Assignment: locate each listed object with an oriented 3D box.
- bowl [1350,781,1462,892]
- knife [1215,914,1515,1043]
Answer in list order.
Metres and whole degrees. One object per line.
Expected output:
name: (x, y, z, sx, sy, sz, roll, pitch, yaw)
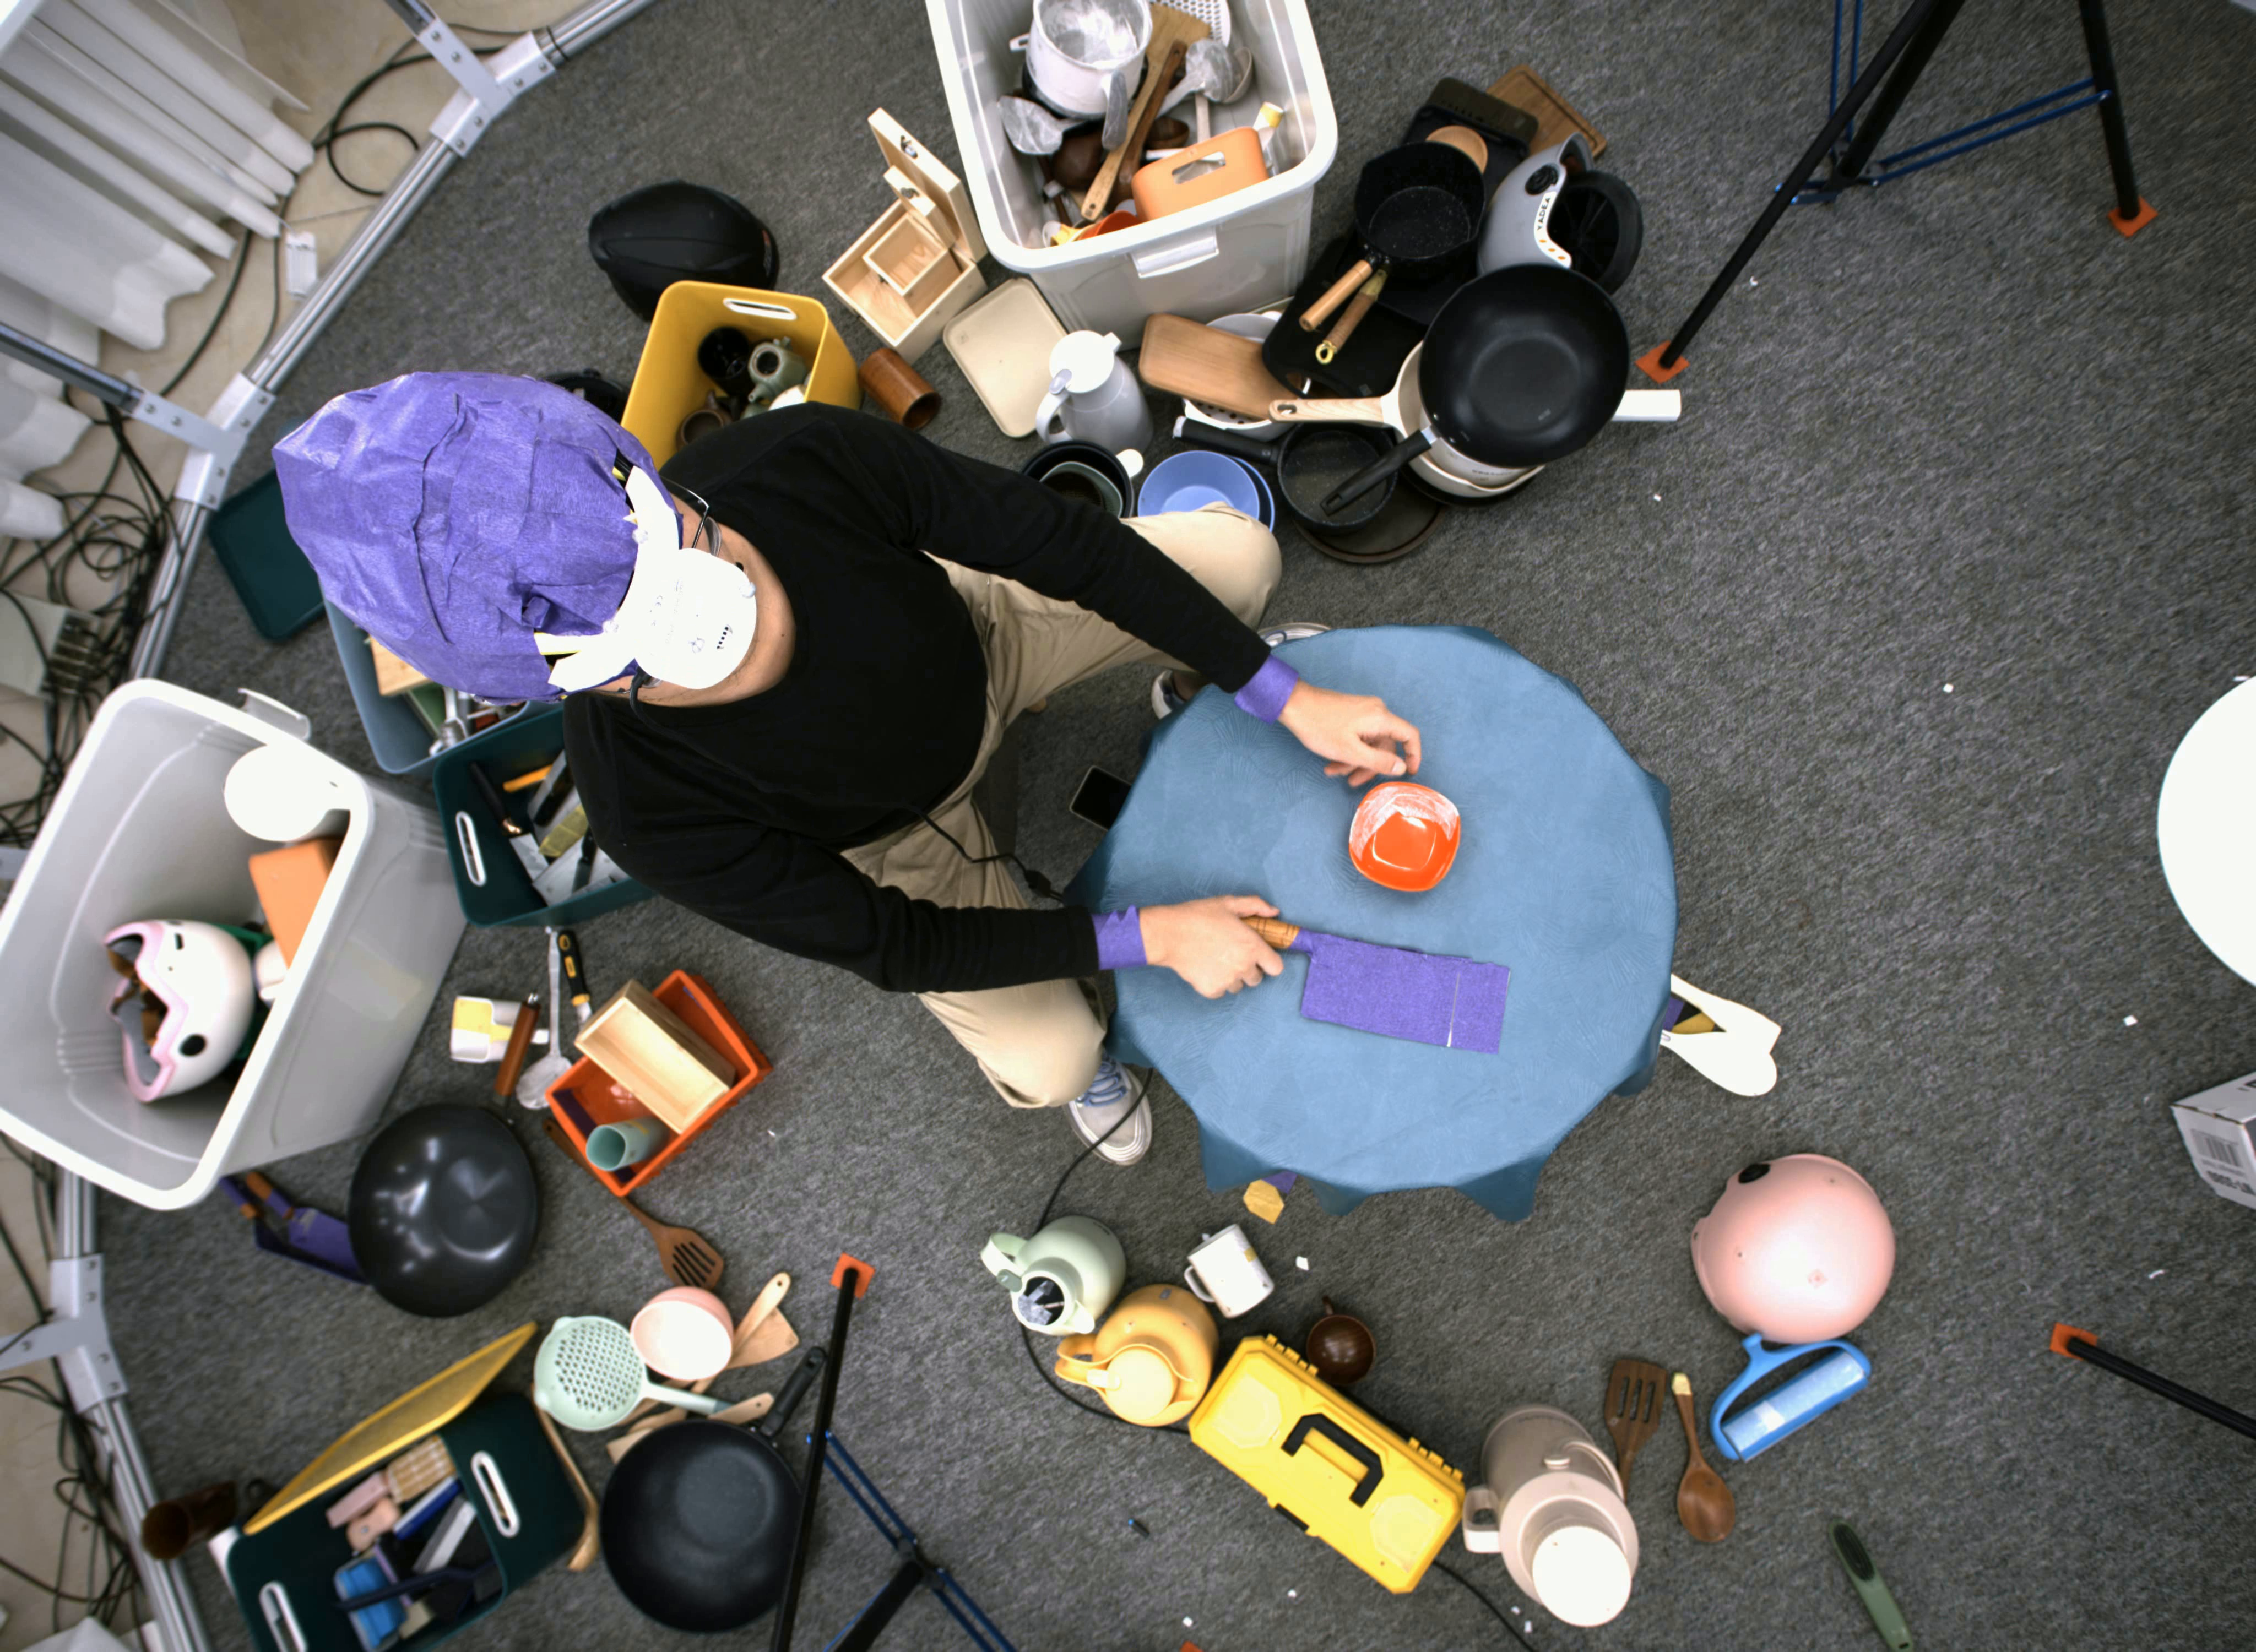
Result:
bowl: (0.287, 0.011, 1.432, 0.119, 0.051, 0.118, 0, 89, 8)
knife: (0.241, 0.161, 1.449, 0.316, 0.032, 0.103, 9, 88, 11)
